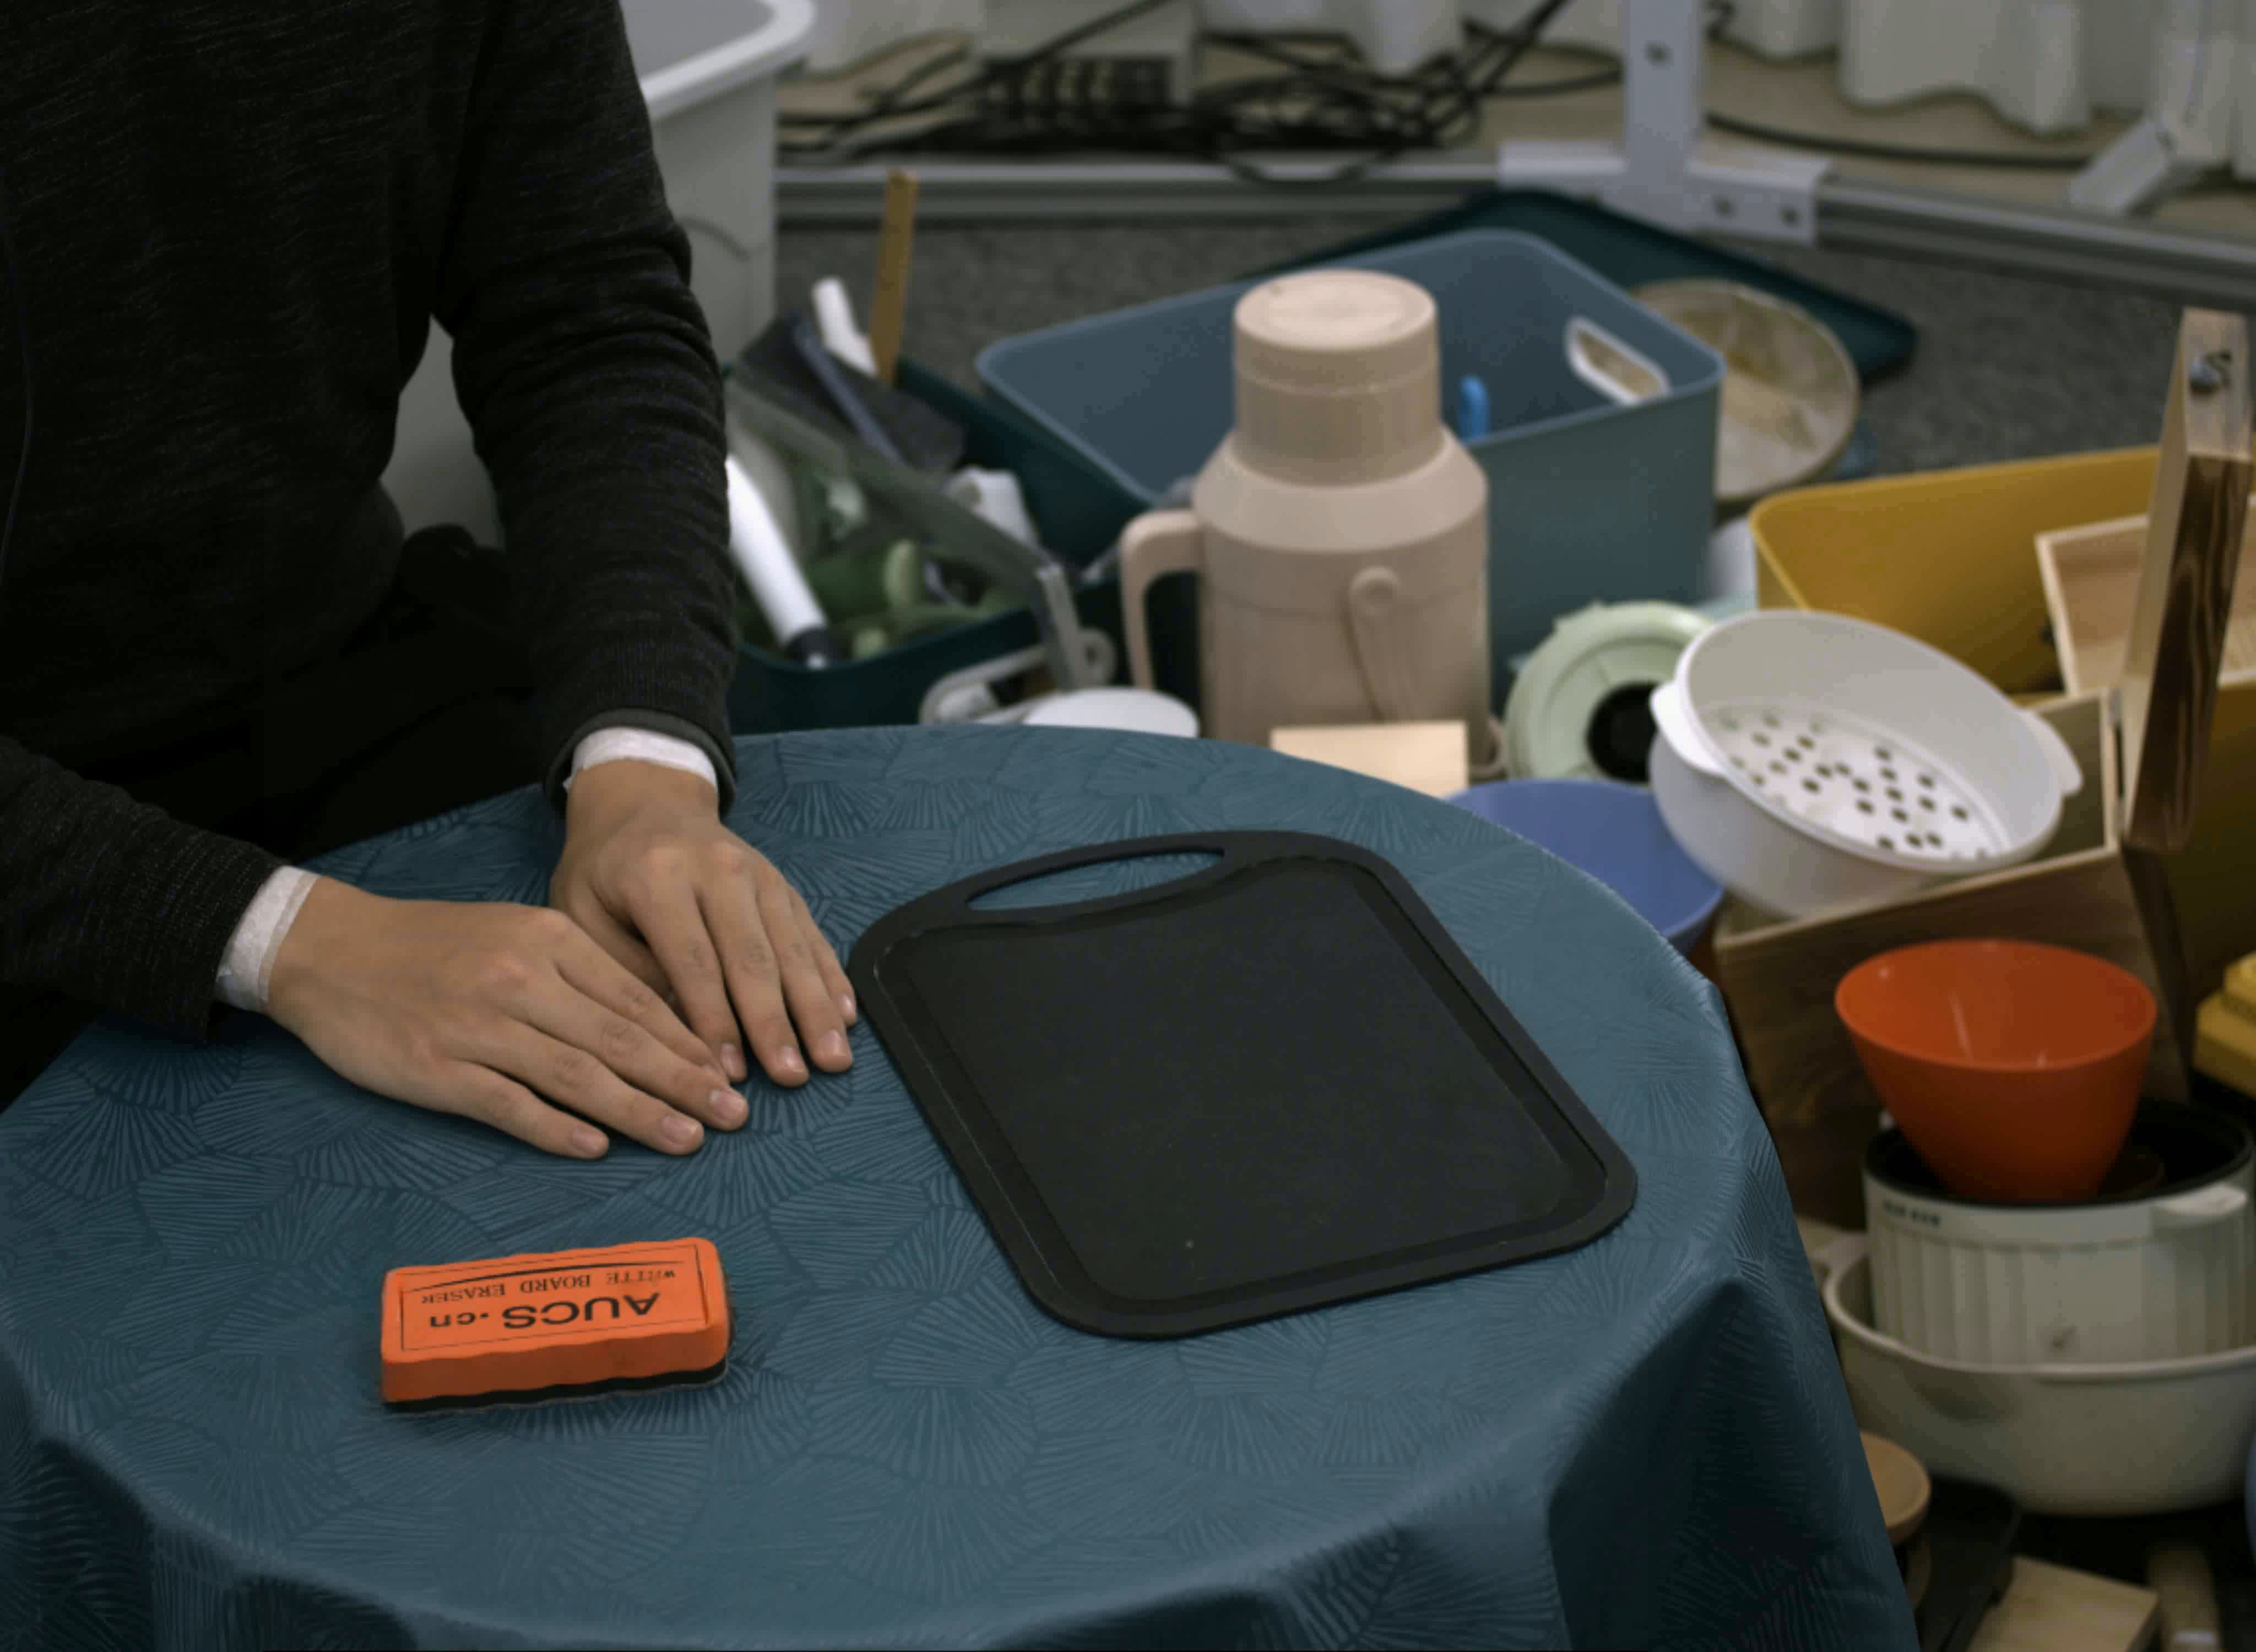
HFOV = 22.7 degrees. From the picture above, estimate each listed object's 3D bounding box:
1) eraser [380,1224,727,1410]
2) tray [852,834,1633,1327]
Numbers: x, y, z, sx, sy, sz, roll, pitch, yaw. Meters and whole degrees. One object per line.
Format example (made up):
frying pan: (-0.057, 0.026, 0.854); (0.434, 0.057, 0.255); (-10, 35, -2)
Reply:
eraser: (-0.182, 0.156, 1.780); (0.108, 0.022, 0.060); (-7, 26, -4)
tray: (0.030, 0.078, 1.934); (0.211, 0.009, 0.328); (-10, 28, -14)
